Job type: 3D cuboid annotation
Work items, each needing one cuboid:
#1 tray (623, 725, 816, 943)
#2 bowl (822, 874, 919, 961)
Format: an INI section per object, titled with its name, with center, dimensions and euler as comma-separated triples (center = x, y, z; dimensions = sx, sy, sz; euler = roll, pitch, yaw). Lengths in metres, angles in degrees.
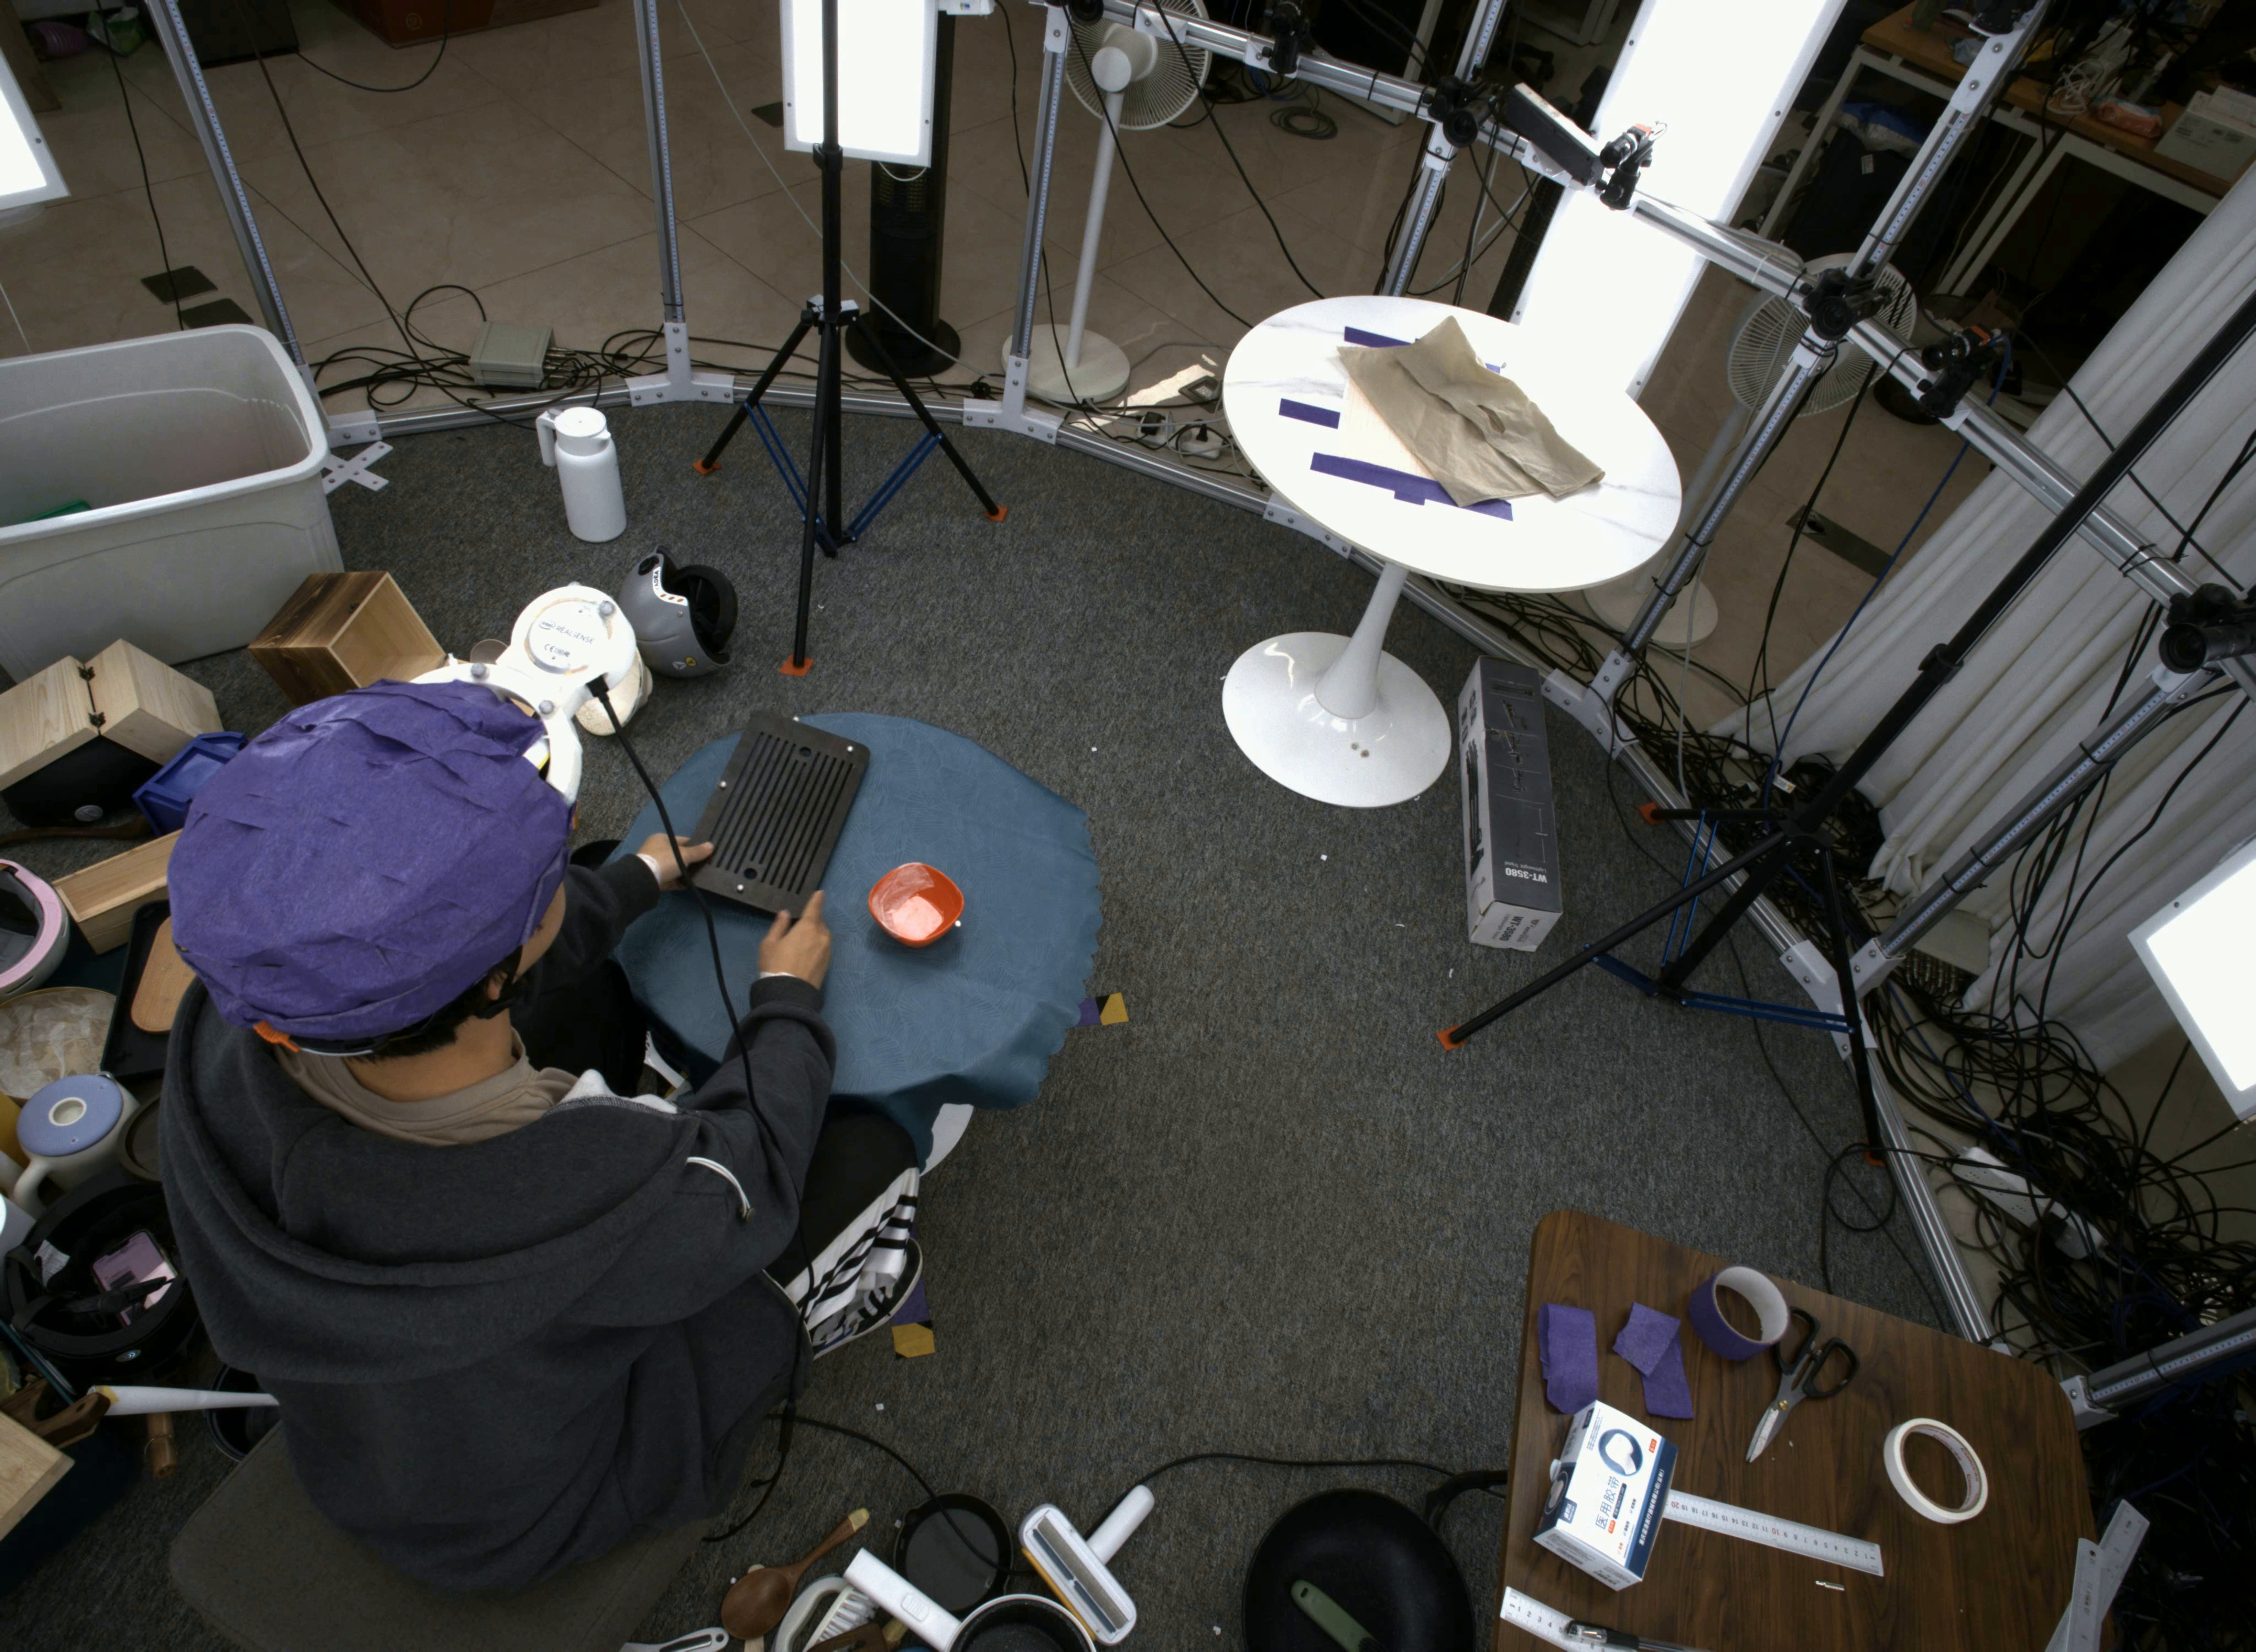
[tray]
center = -0.524, 0.005, 1.671
dimensions = 0.171, 0.019, 0.301
euler = 19, 51, -12
[bowl]
center = -0.323, 0.121, 1.630
dimensions = 0.119, 0.052, 0.117
euler = 9, 52, -9
